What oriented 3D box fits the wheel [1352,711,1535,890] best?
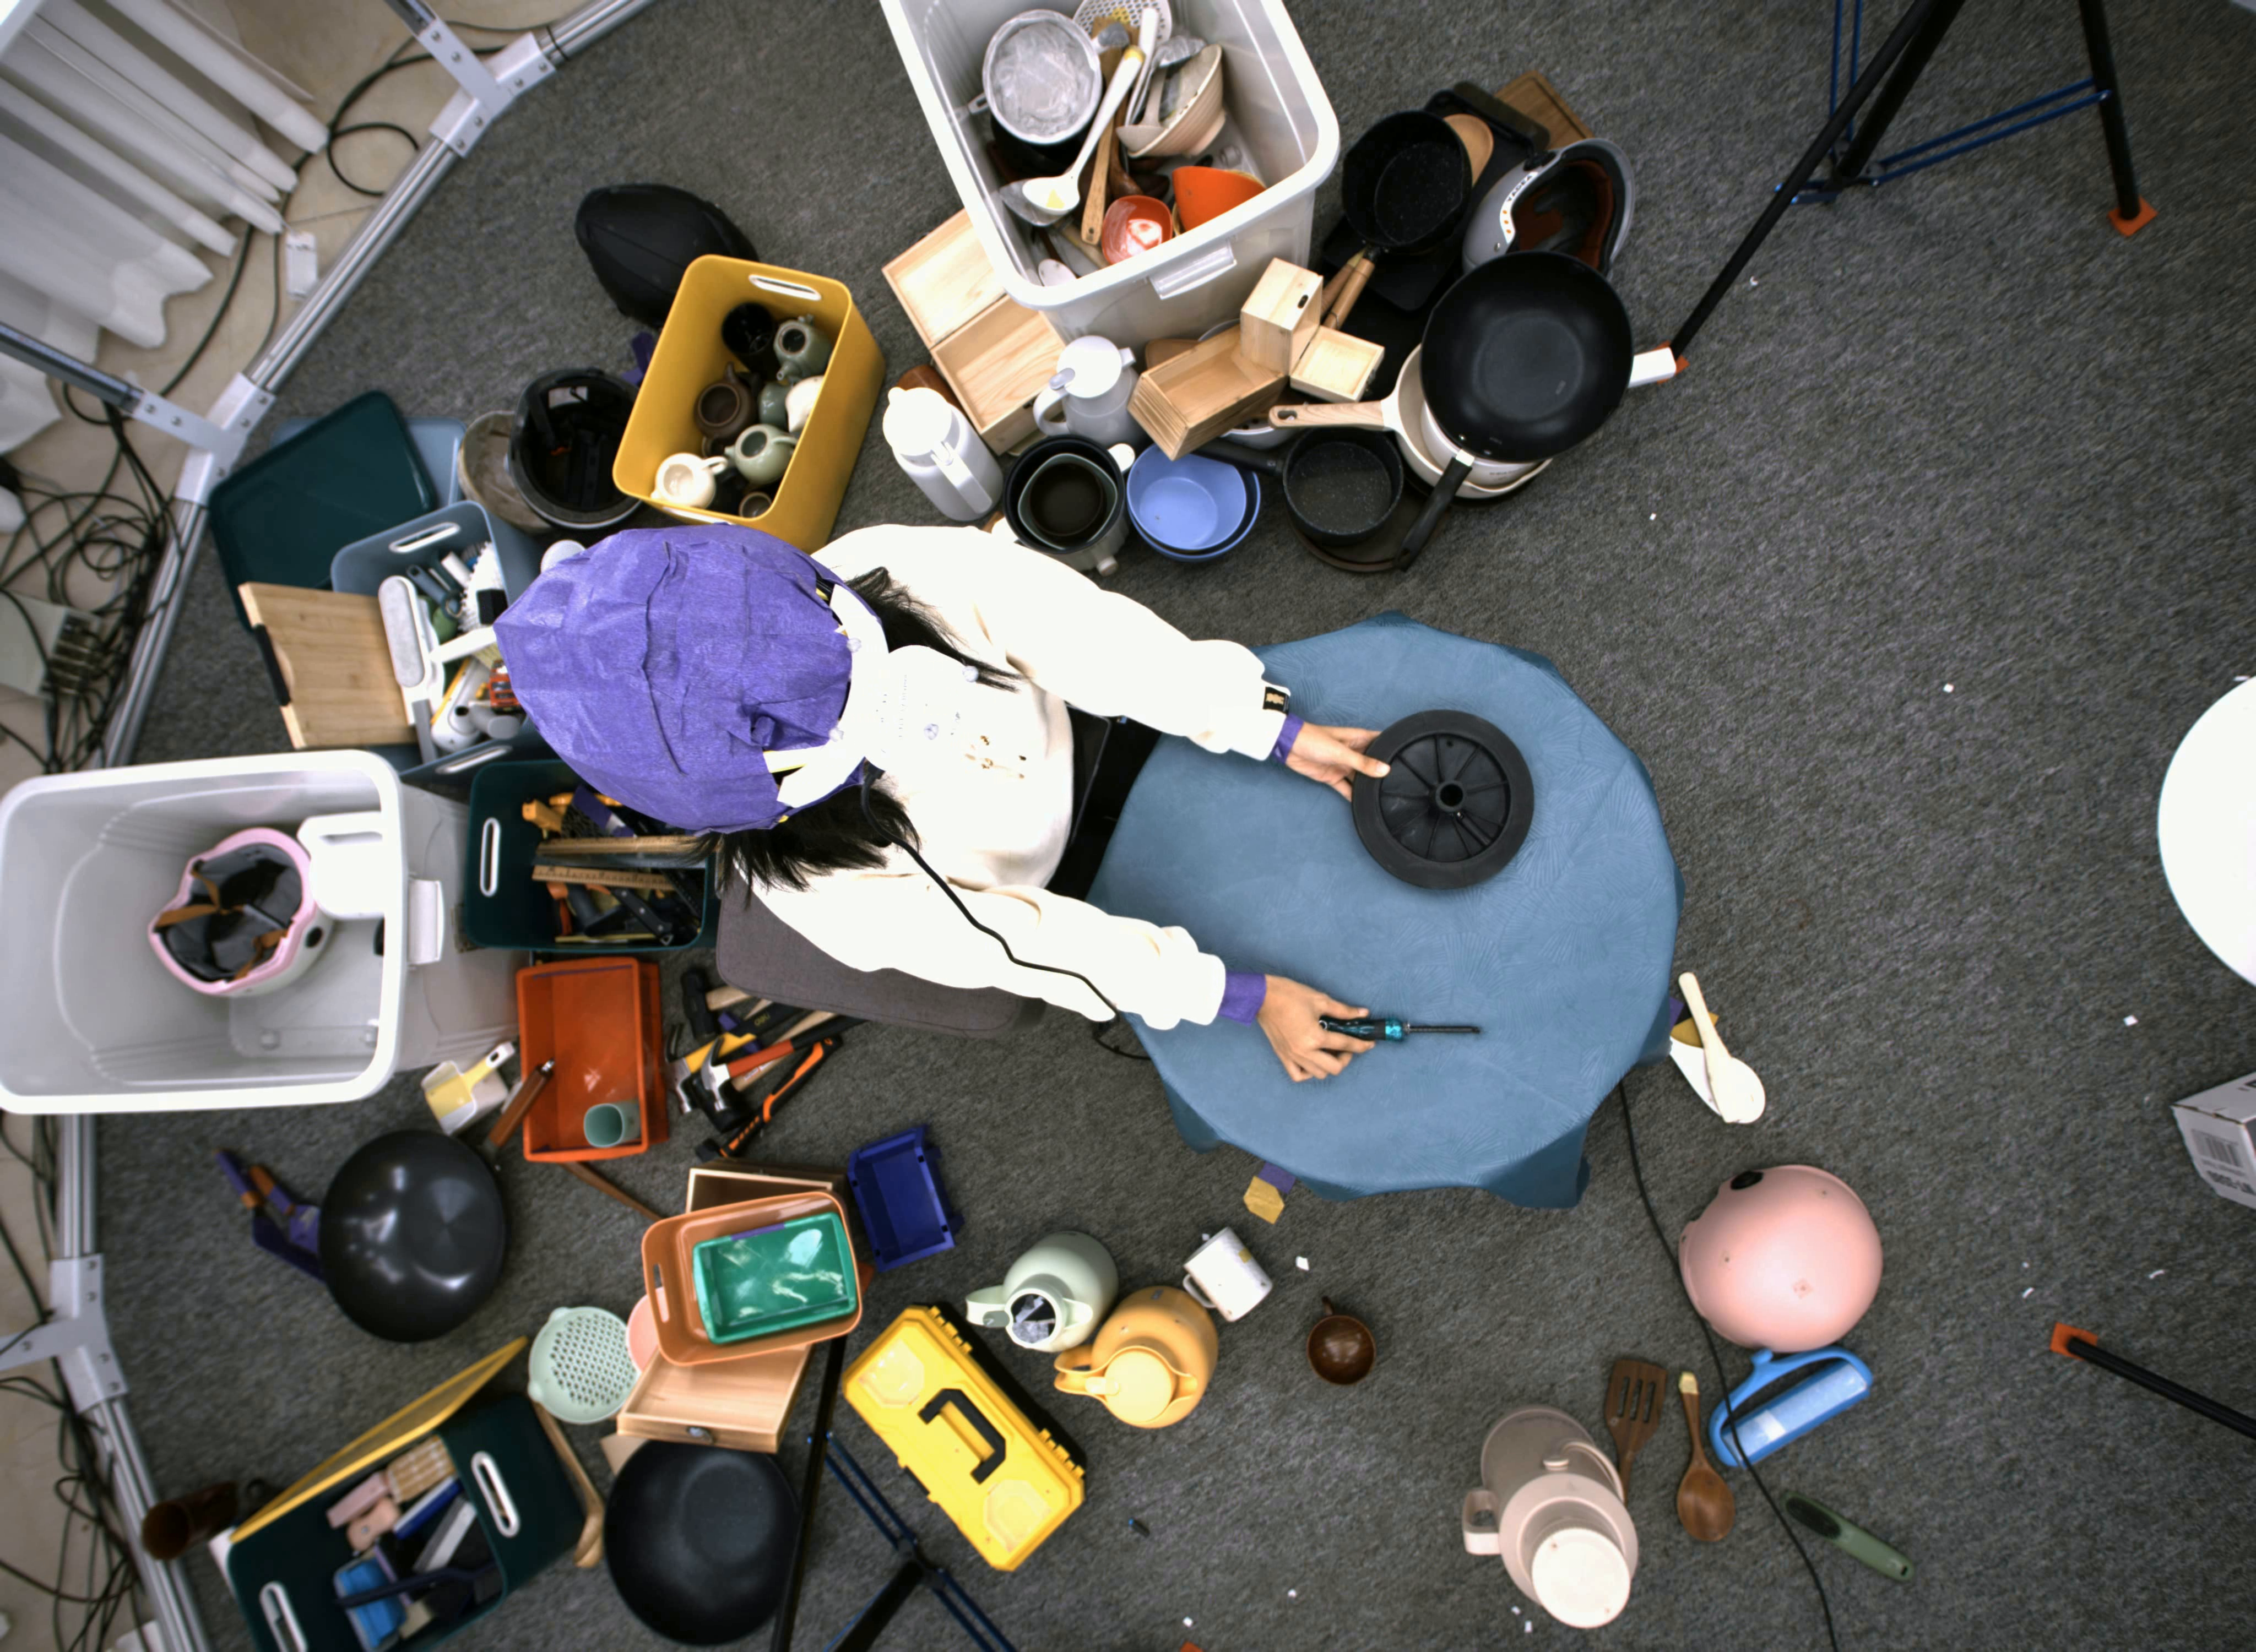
[{"bbox_3d":[0.328,-0.029,1.413,0.190,0.079,0.187,21,92,2],"label":"wheel"}]

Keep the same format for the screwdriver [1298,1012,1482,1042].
[{"bbox_3d":[0.273,0.209,1.438,0.190,0.034,0.033,1,85,4],"label":"screwdriver"}]
